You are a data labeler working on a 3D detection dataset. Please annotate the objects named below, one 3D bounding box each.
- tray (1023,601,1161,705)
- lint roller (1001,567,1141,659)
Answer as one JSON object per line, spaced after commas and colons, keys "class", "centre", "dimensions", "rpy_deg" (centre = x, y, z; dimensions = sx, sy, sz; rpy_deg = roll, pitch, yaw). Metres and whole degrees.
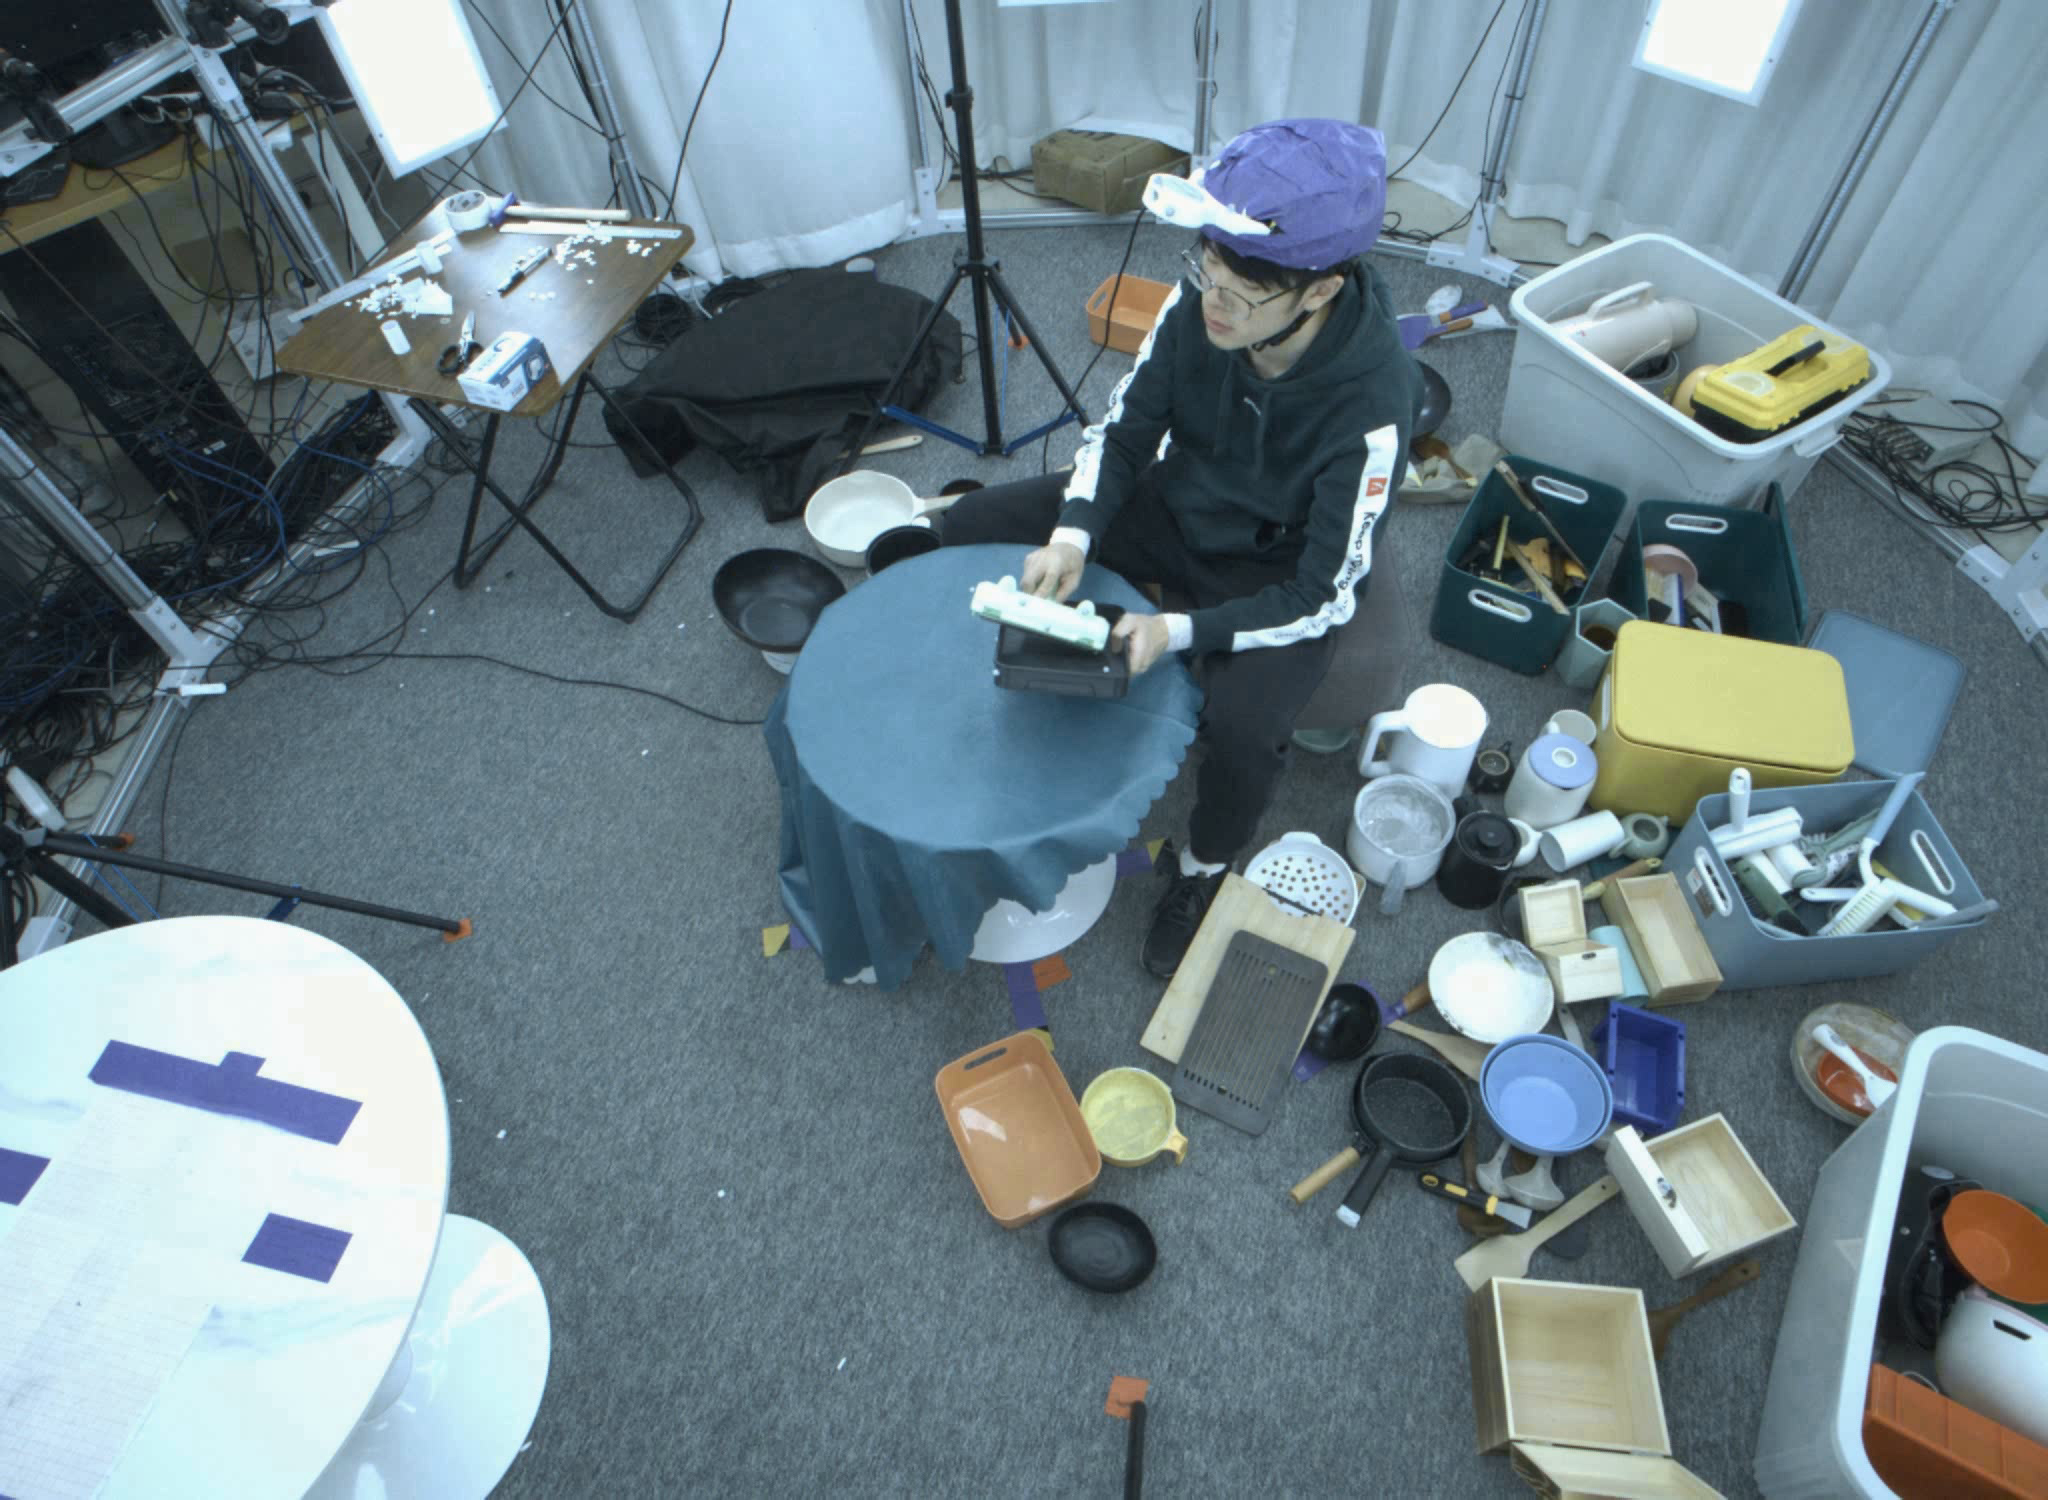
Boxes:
{"class": "tray", "centre": [0.098, -0.146, 1.746], "dimensions": [0.184, 0.037, 0.316], "rpy_deg": [7, 25, 1]}
{"class": "lint roller", "centre": [0.078, -0.224, 1.765], "dimensions": [0.199, 0.082, 0.182], "rpy_deg": [19, 48, -5]}
